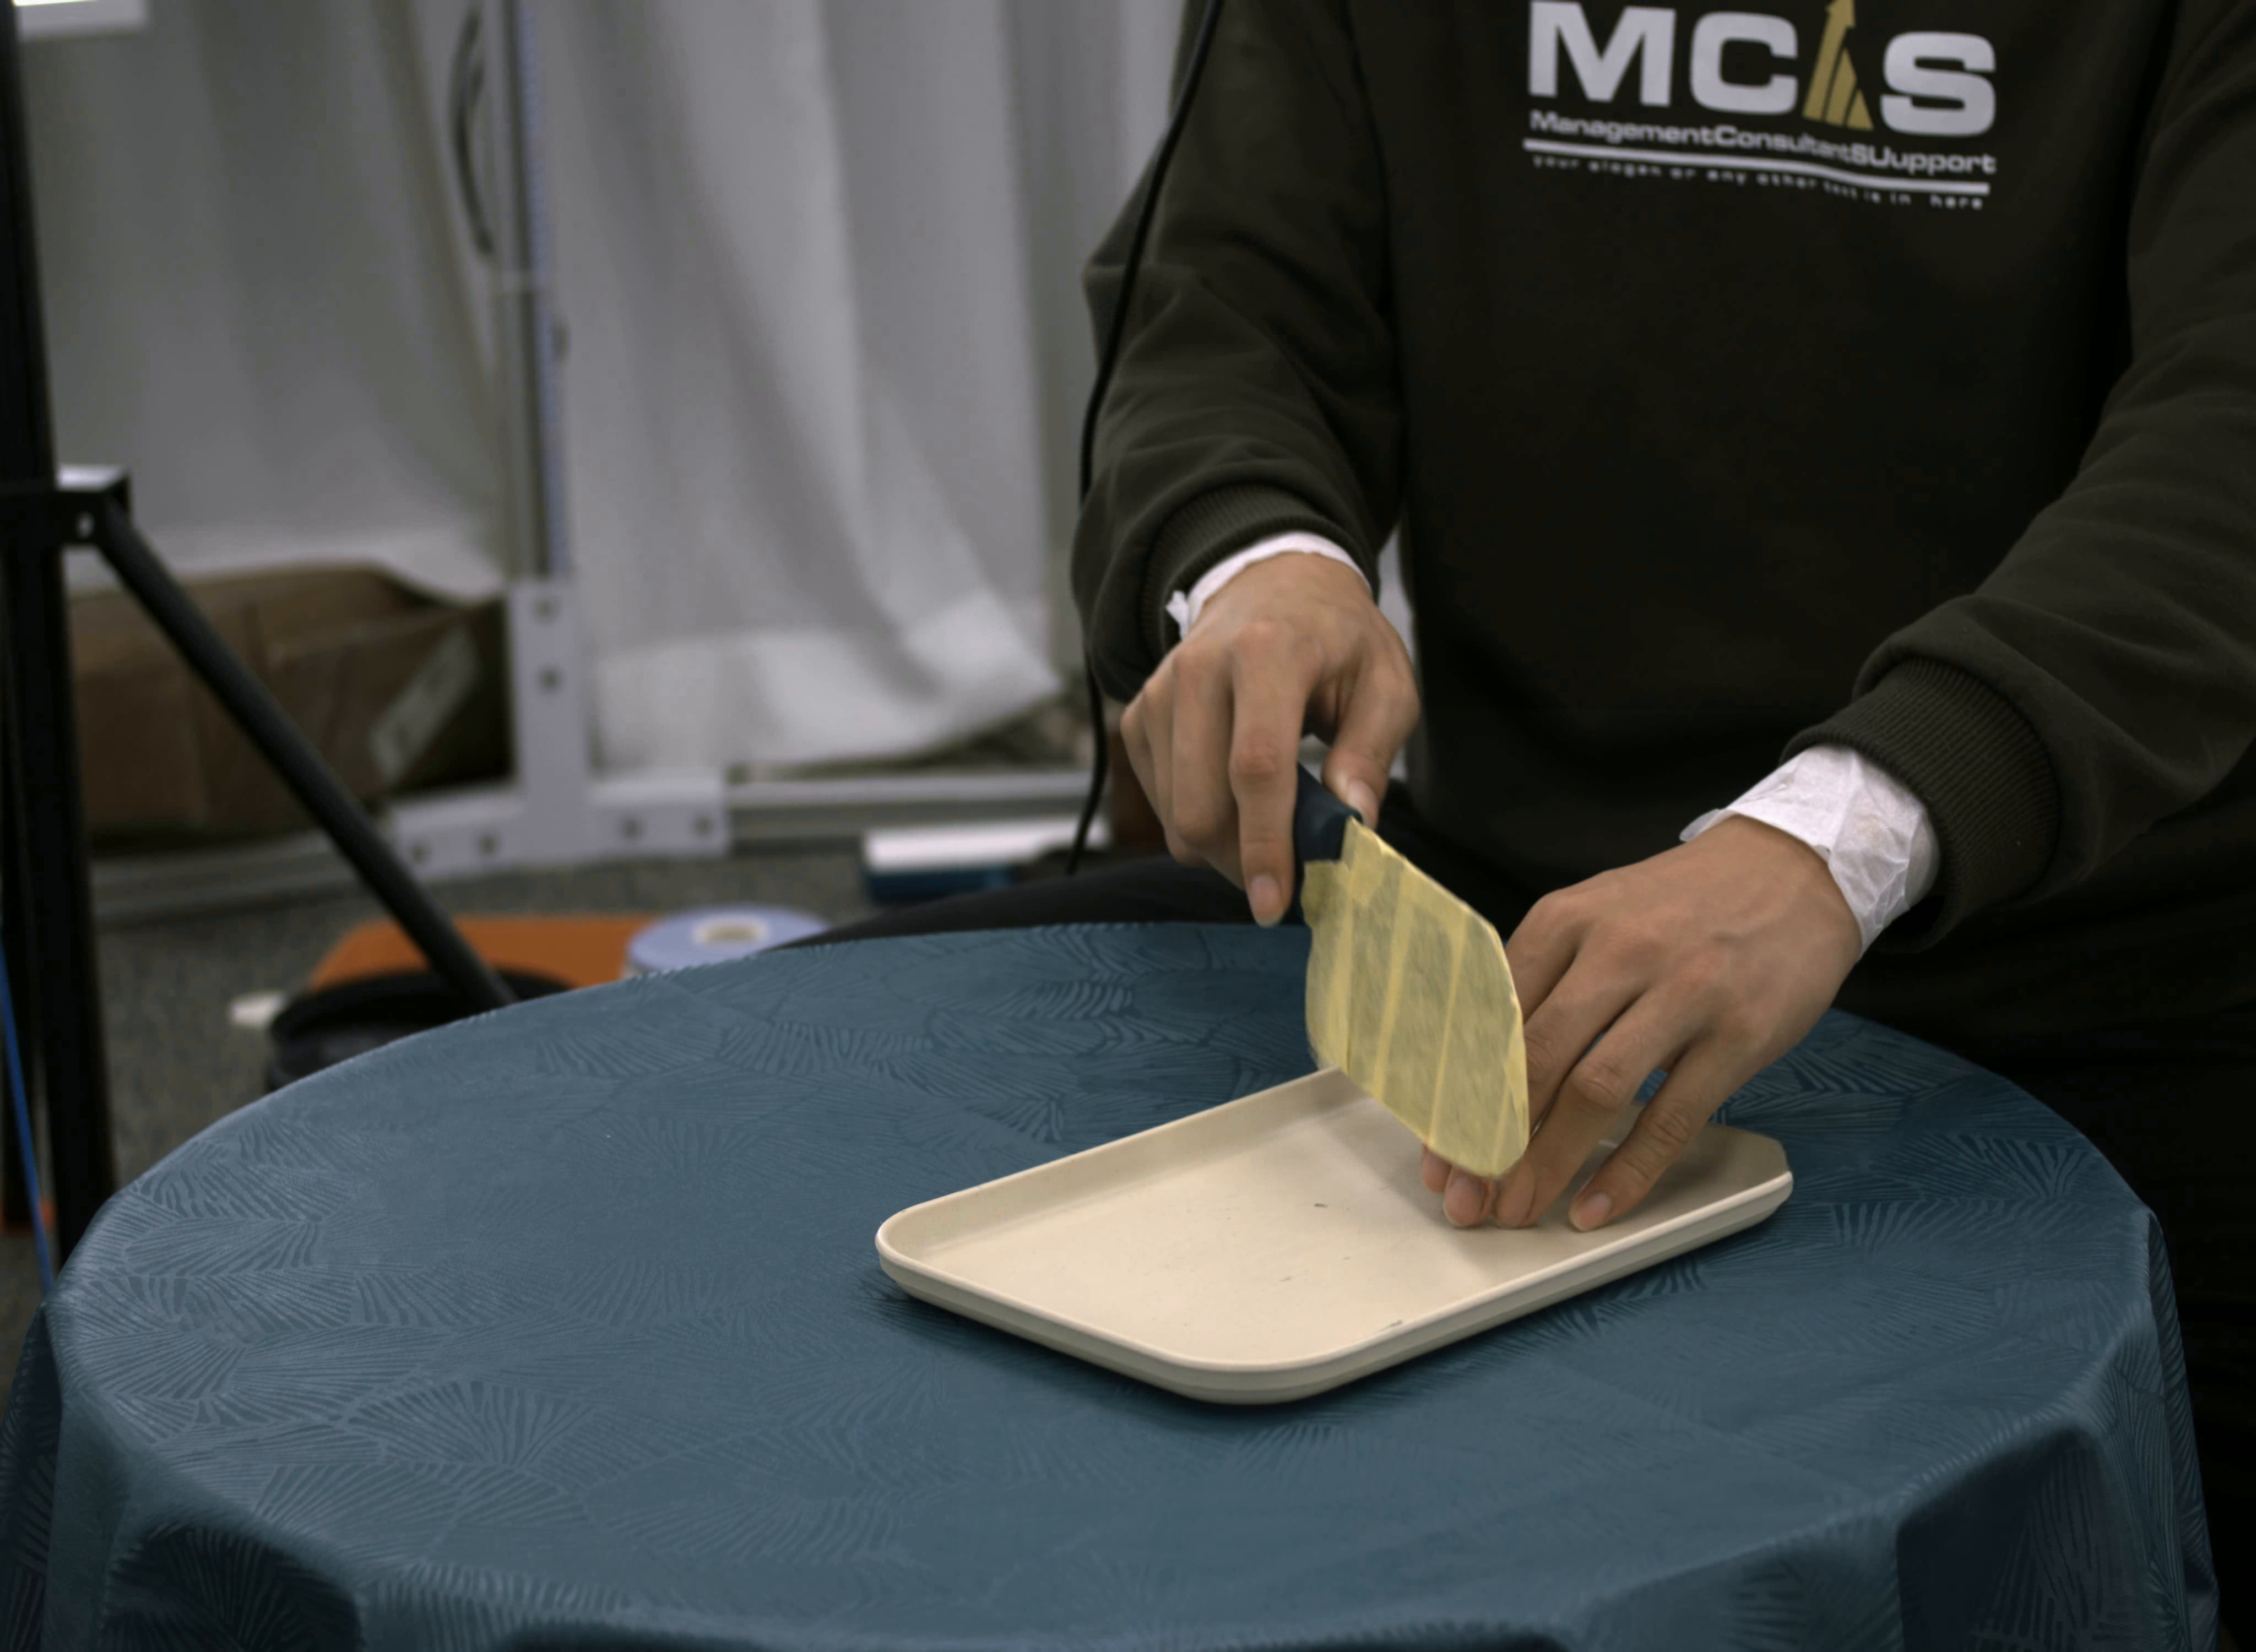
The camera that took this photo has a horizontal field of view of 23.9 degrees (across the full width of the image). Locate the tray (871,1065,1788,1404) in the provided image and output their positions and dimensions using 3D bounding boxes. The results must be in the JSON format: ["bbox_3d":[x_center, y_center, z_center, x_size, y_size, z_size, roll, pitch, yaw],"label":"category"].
[{"bbox_3d":[0.059,0.112,1.504,0.234,0.017,0.175,-16,20,-40],"label":"tray"}]

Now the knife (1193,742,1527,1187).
[{"bbox_3d":[0.068,0.036,1.576,0.027,0.081,0.294,6,17,-19],"label":"knife"}]
